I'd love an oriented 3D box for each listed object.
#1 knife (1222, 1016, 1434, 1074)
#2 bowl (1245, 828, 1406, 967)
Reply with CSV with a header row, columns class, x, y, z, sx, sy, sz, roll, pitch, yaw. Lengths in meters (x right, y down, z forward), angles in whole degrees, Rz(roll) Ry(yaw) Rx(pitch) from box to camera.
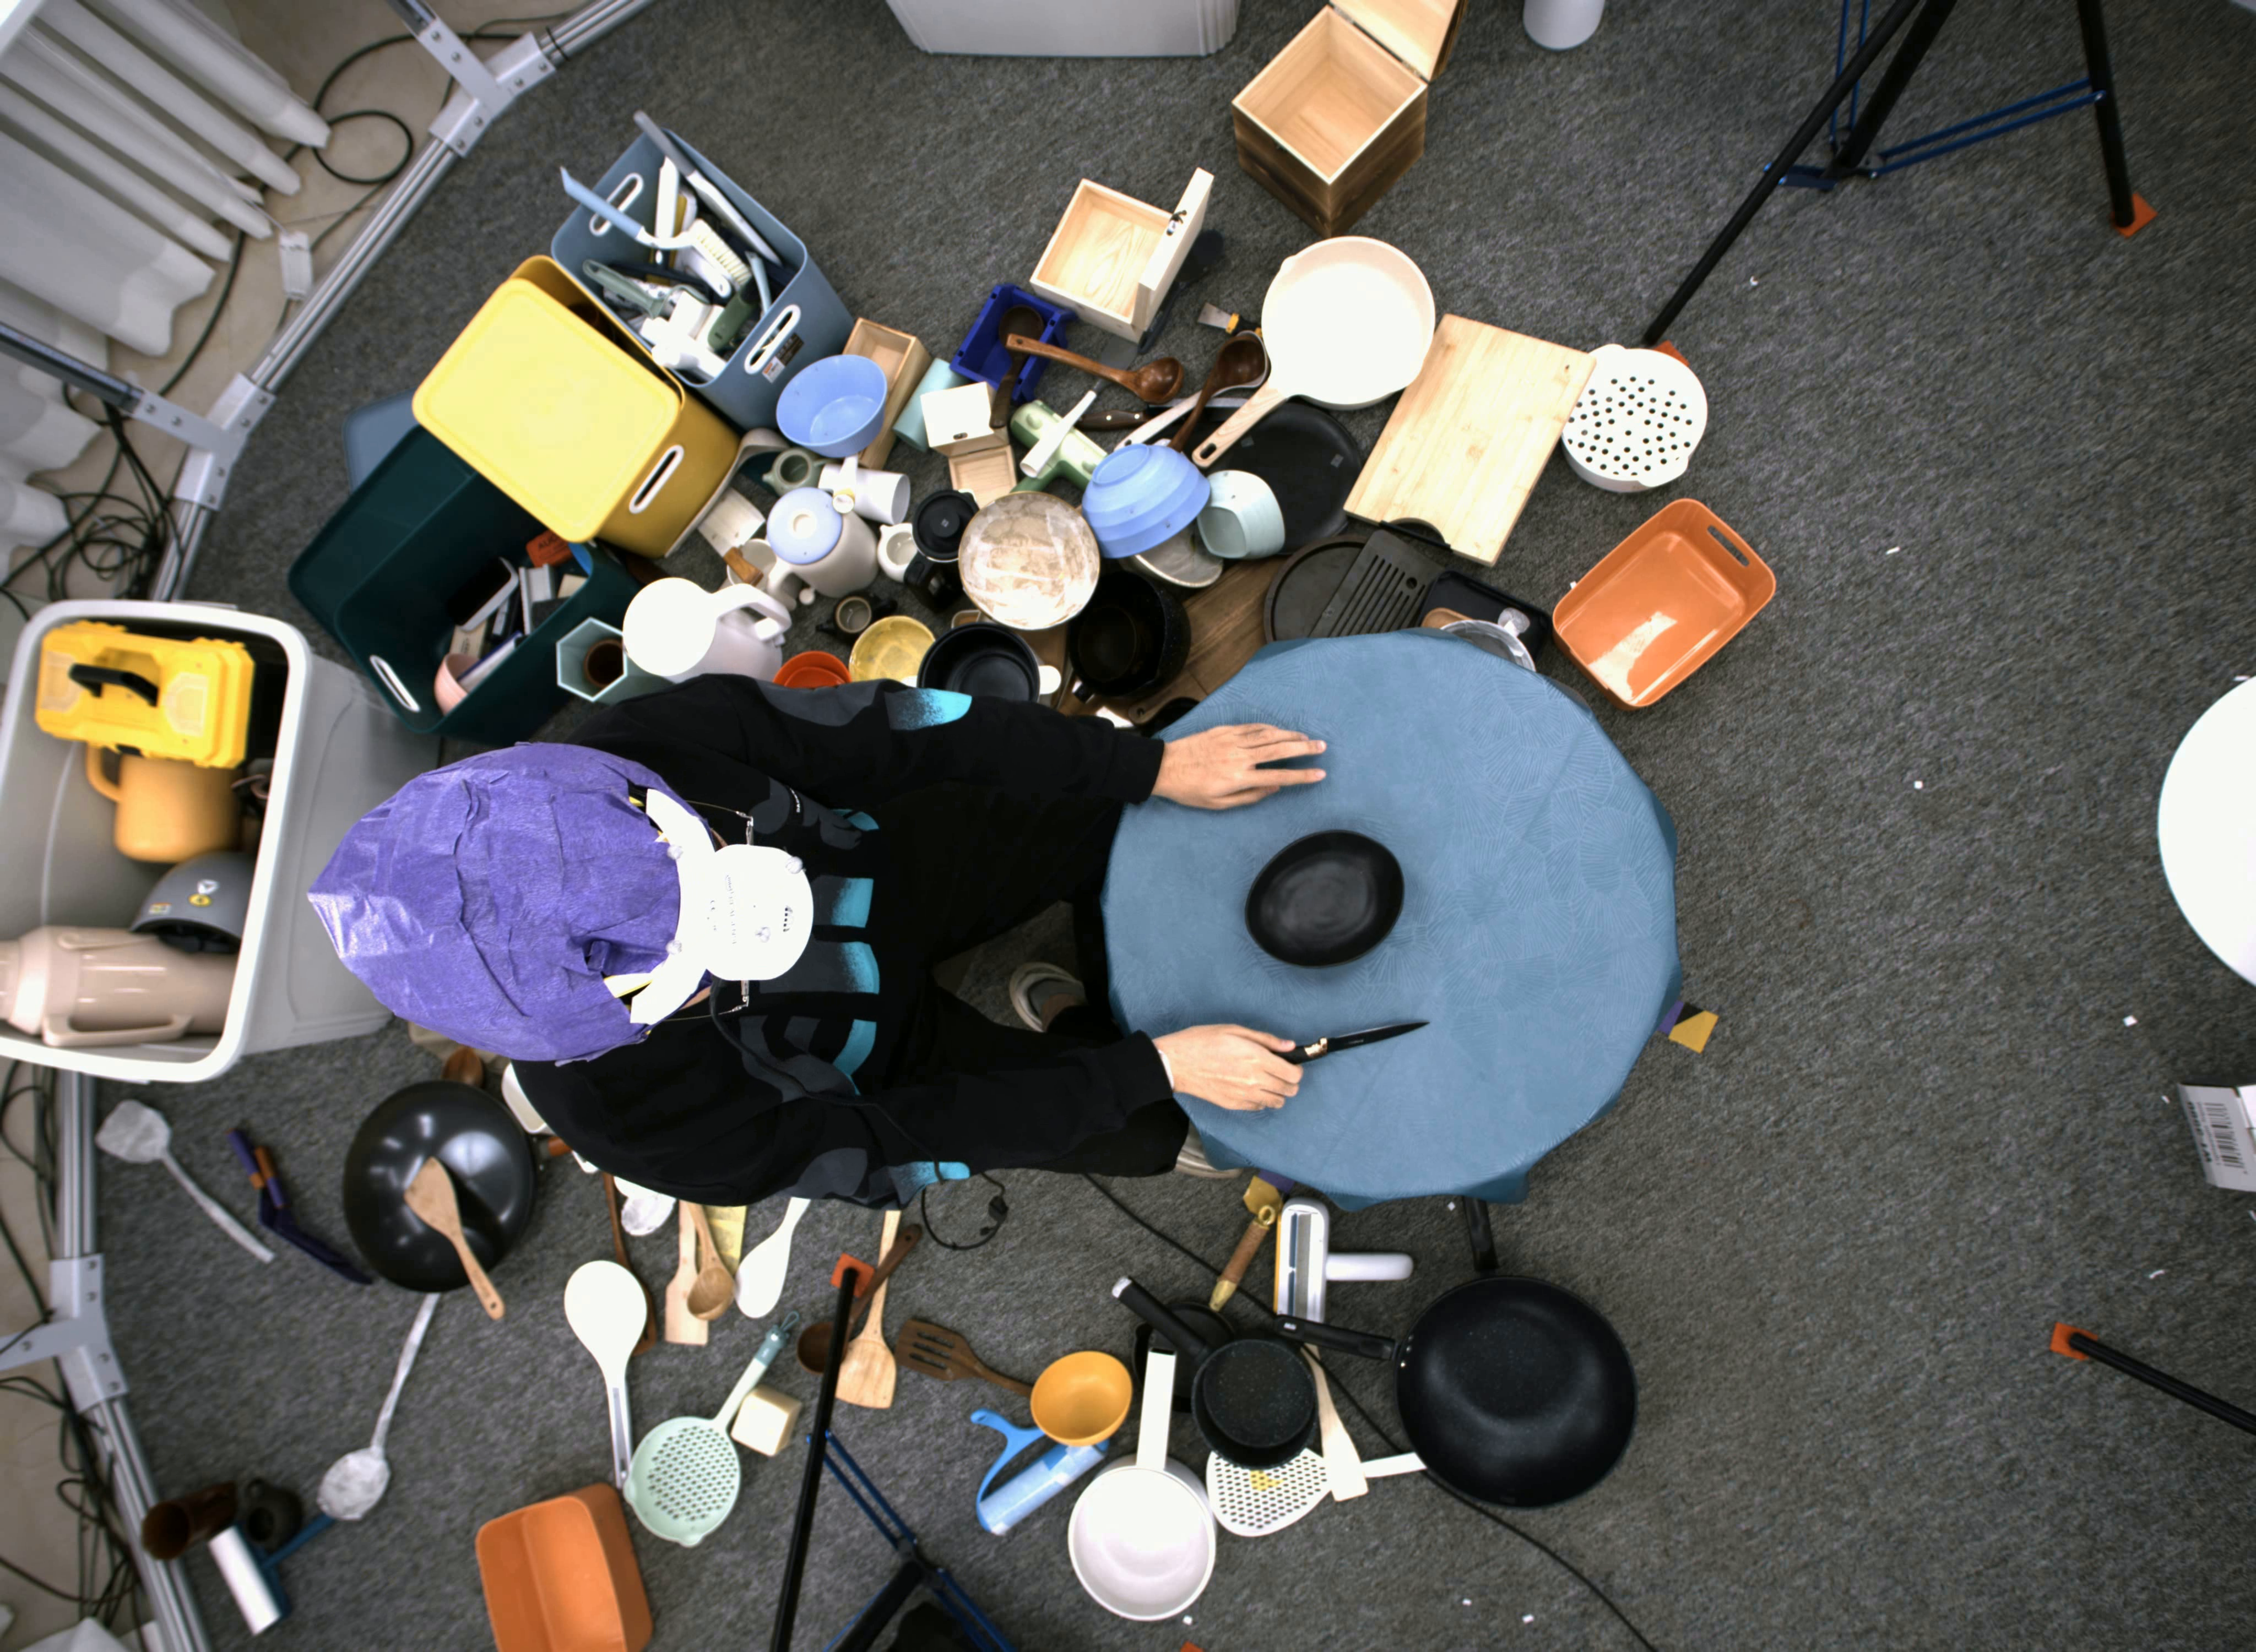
class,x,y,z,sx,sy,sz,roll,pitch,yaw
knife,0.207,0.225,1.433,0.226,0.027,0.017,-13,51,0
bowl,0.207,0.077,1.439,0.171,0.066,0.136,-26,82,10
